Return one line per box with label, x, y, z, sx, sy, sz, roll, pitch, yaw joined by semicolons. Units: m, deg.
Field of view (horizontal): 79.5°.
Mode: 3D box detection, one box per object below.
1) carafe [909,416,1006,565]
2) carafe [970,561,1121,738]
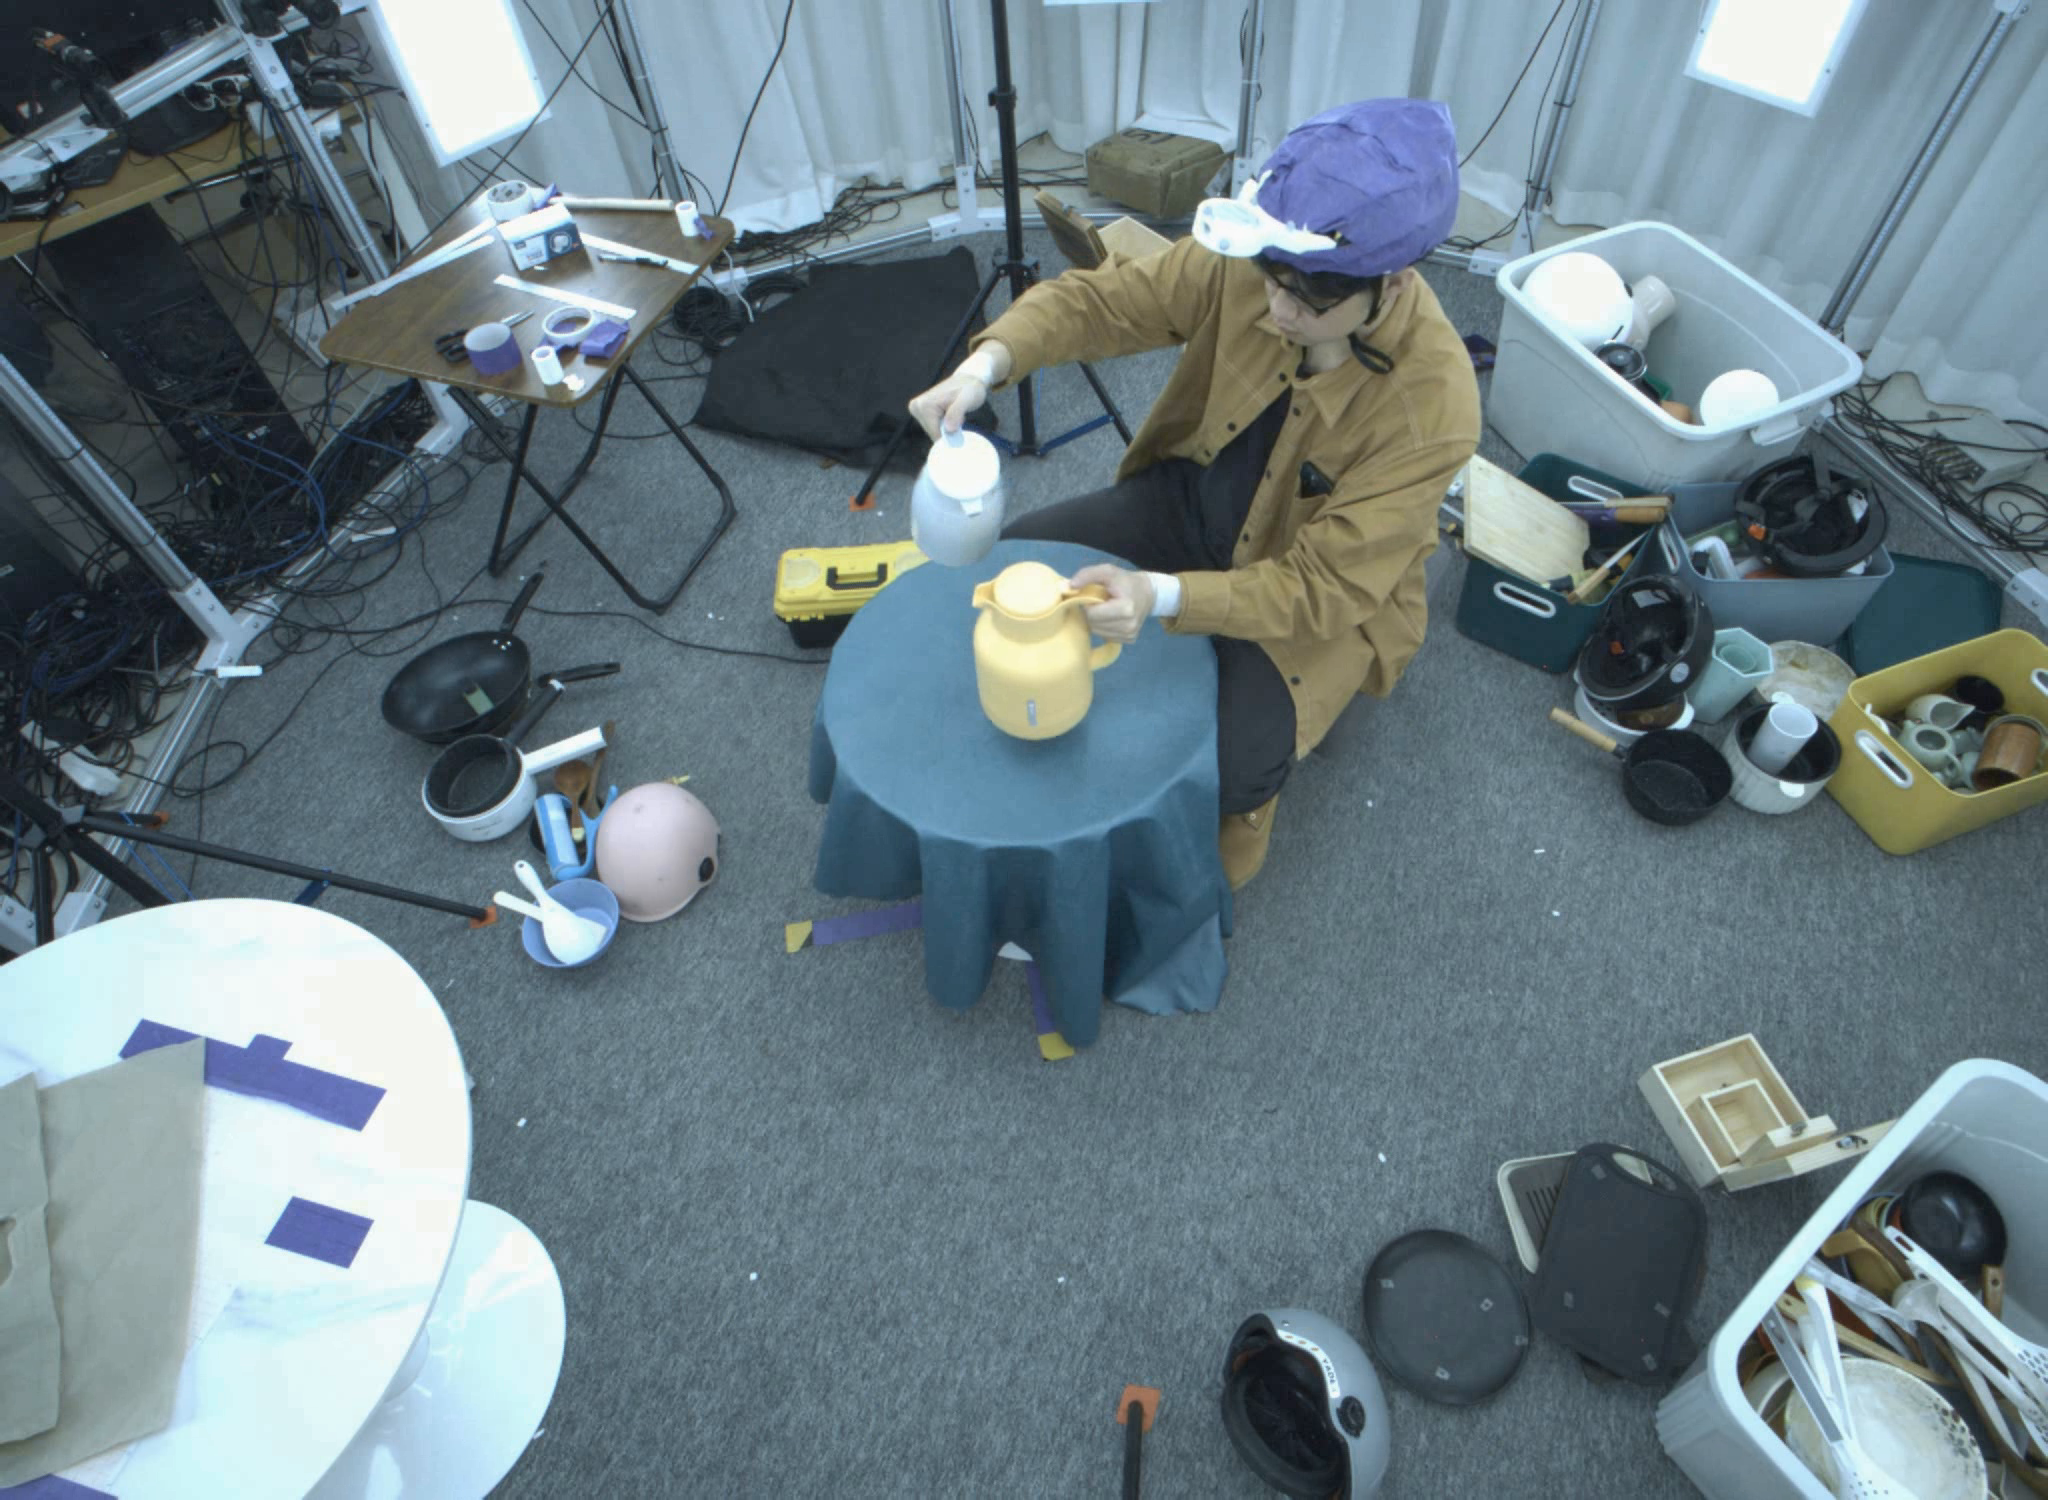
carafe;-0.095;-0.364;1.650;0.133;0.248;0.167;-16;85;-8
carafe;0.031;-0.141;1.674;0.202;0.263;0.162;-1;58;4
